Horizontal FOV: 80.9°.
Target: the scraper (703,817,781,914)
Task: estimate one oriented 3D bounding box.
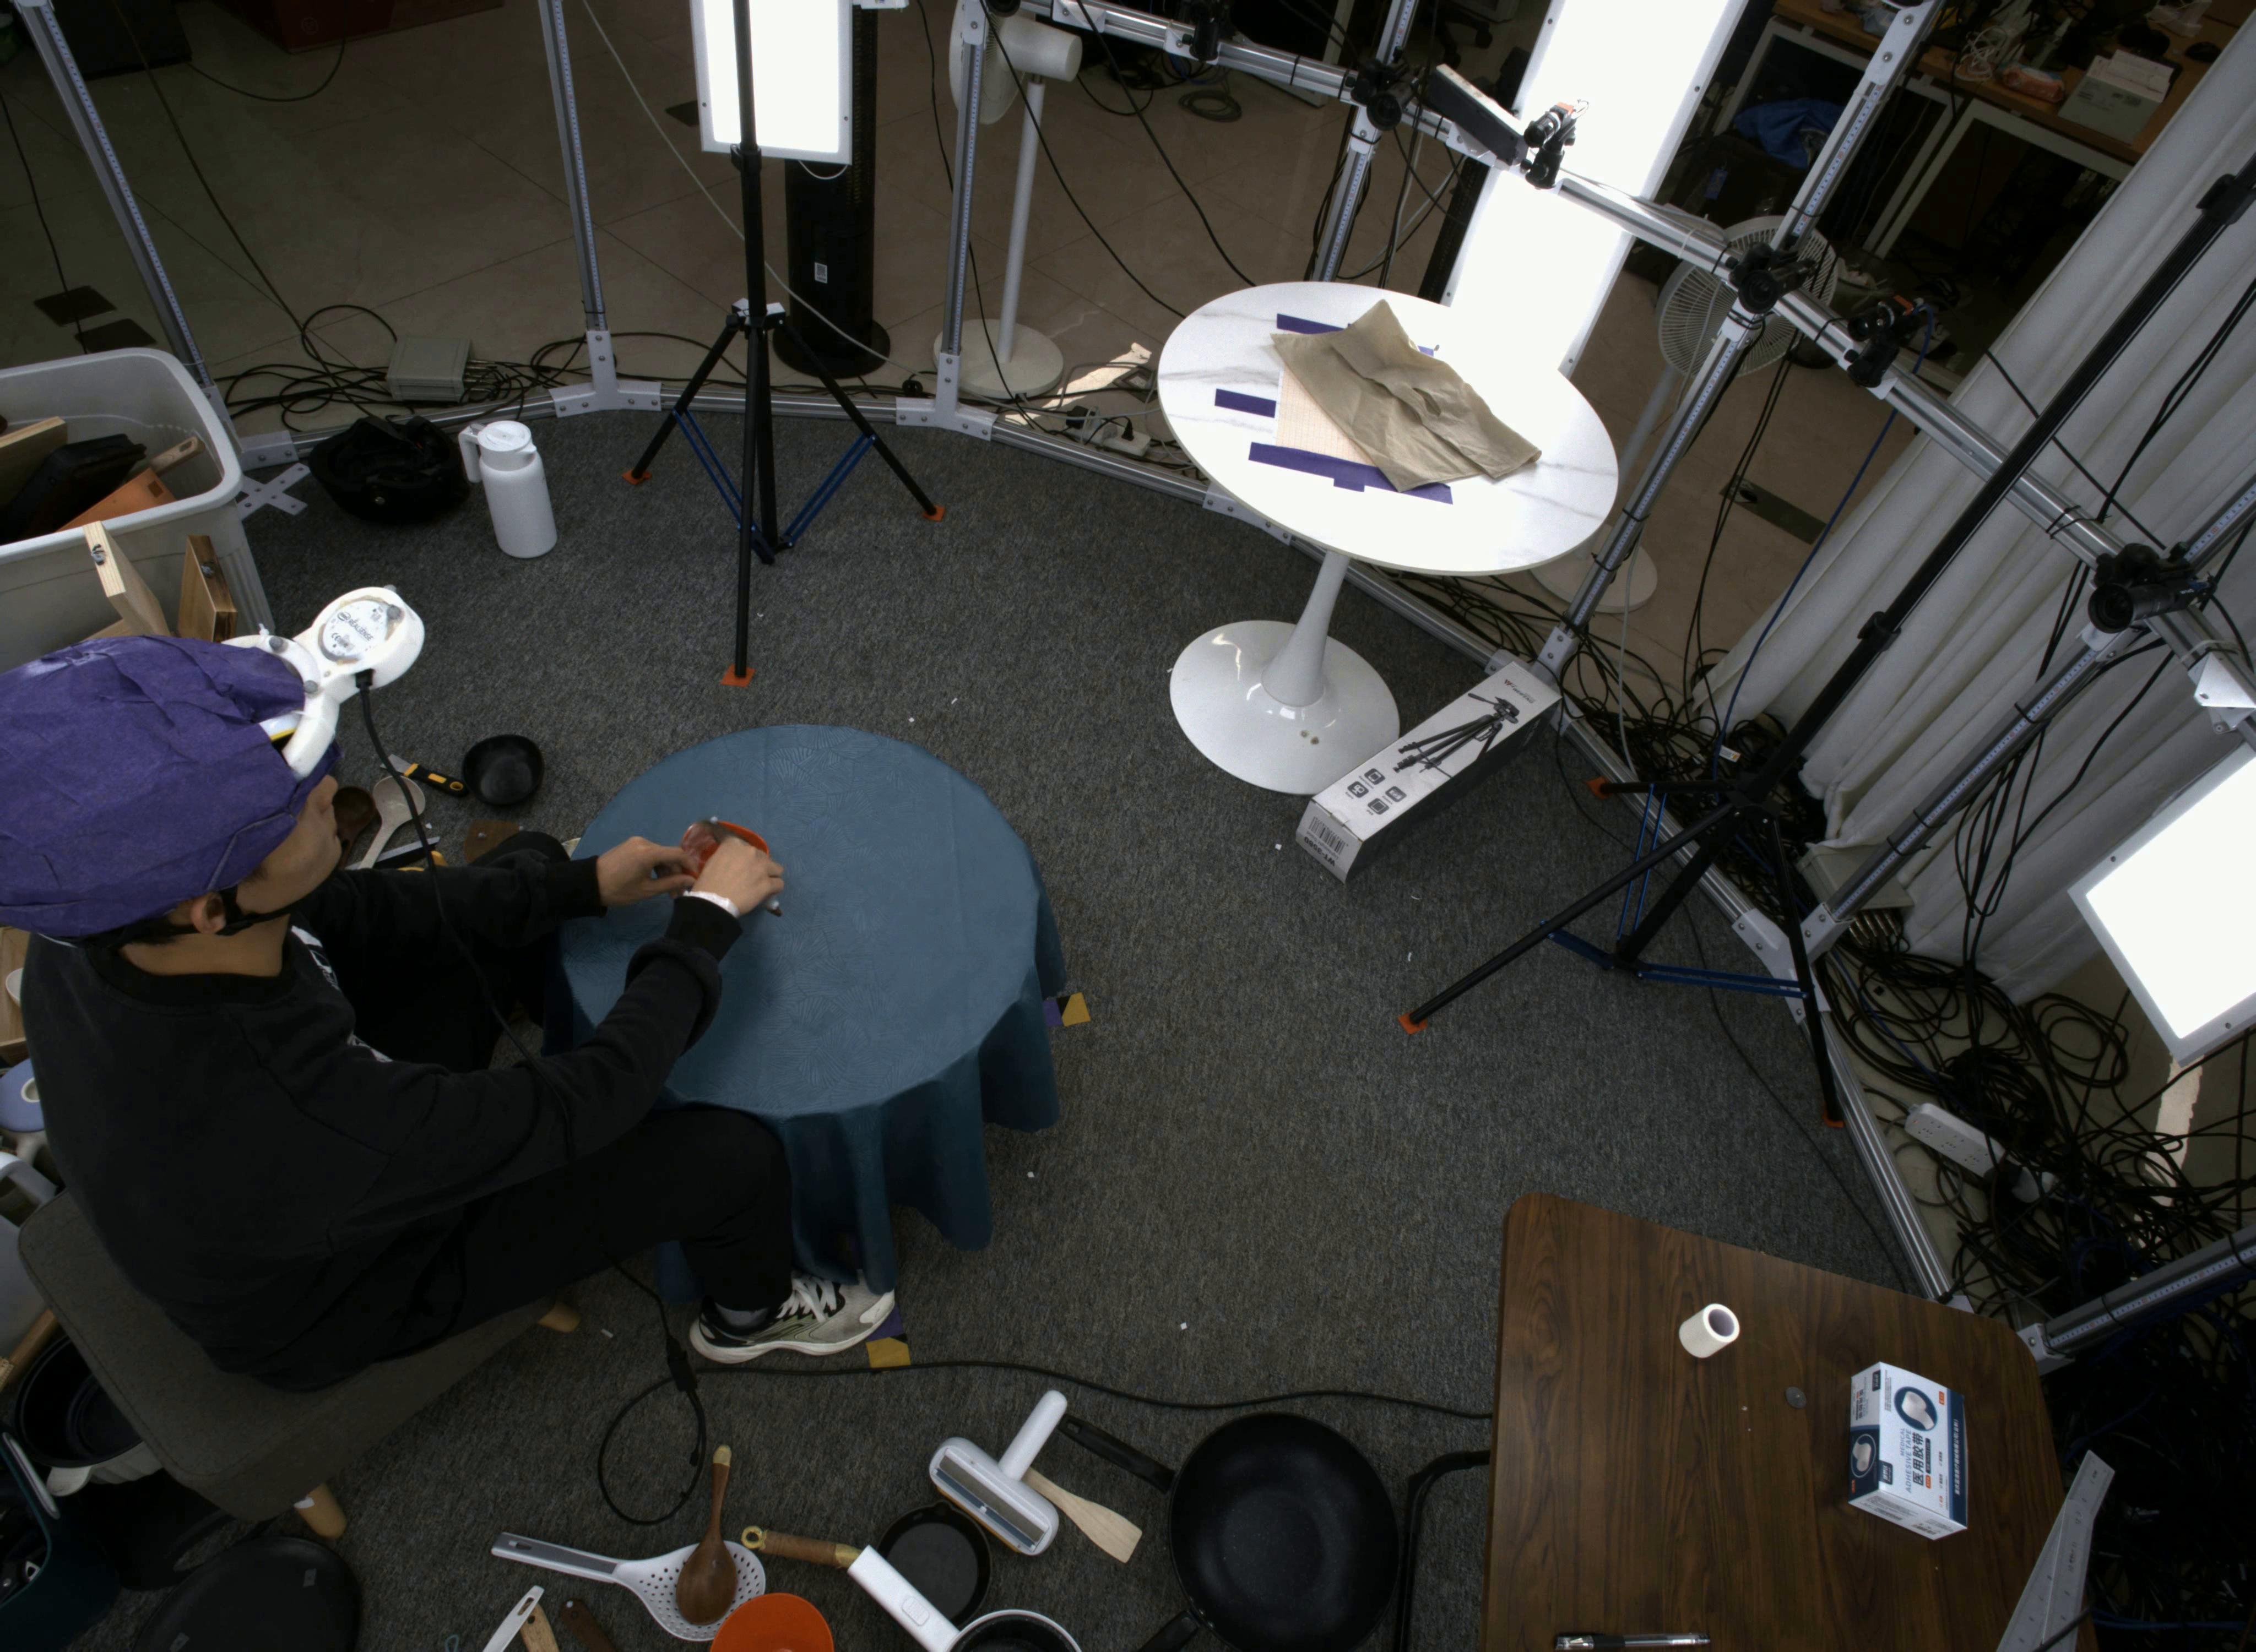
[{"bbox_3d":[-0.461,0.049,1.564,0.011,0.078,0.203,-51,43,2],"label":"scraper"}]

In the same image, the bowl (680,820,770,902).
[{"bbox_3d":[-0.512,0.050,1.624,0.120,0.052,0.116,22,38,-17],"label":"bowl"}]
